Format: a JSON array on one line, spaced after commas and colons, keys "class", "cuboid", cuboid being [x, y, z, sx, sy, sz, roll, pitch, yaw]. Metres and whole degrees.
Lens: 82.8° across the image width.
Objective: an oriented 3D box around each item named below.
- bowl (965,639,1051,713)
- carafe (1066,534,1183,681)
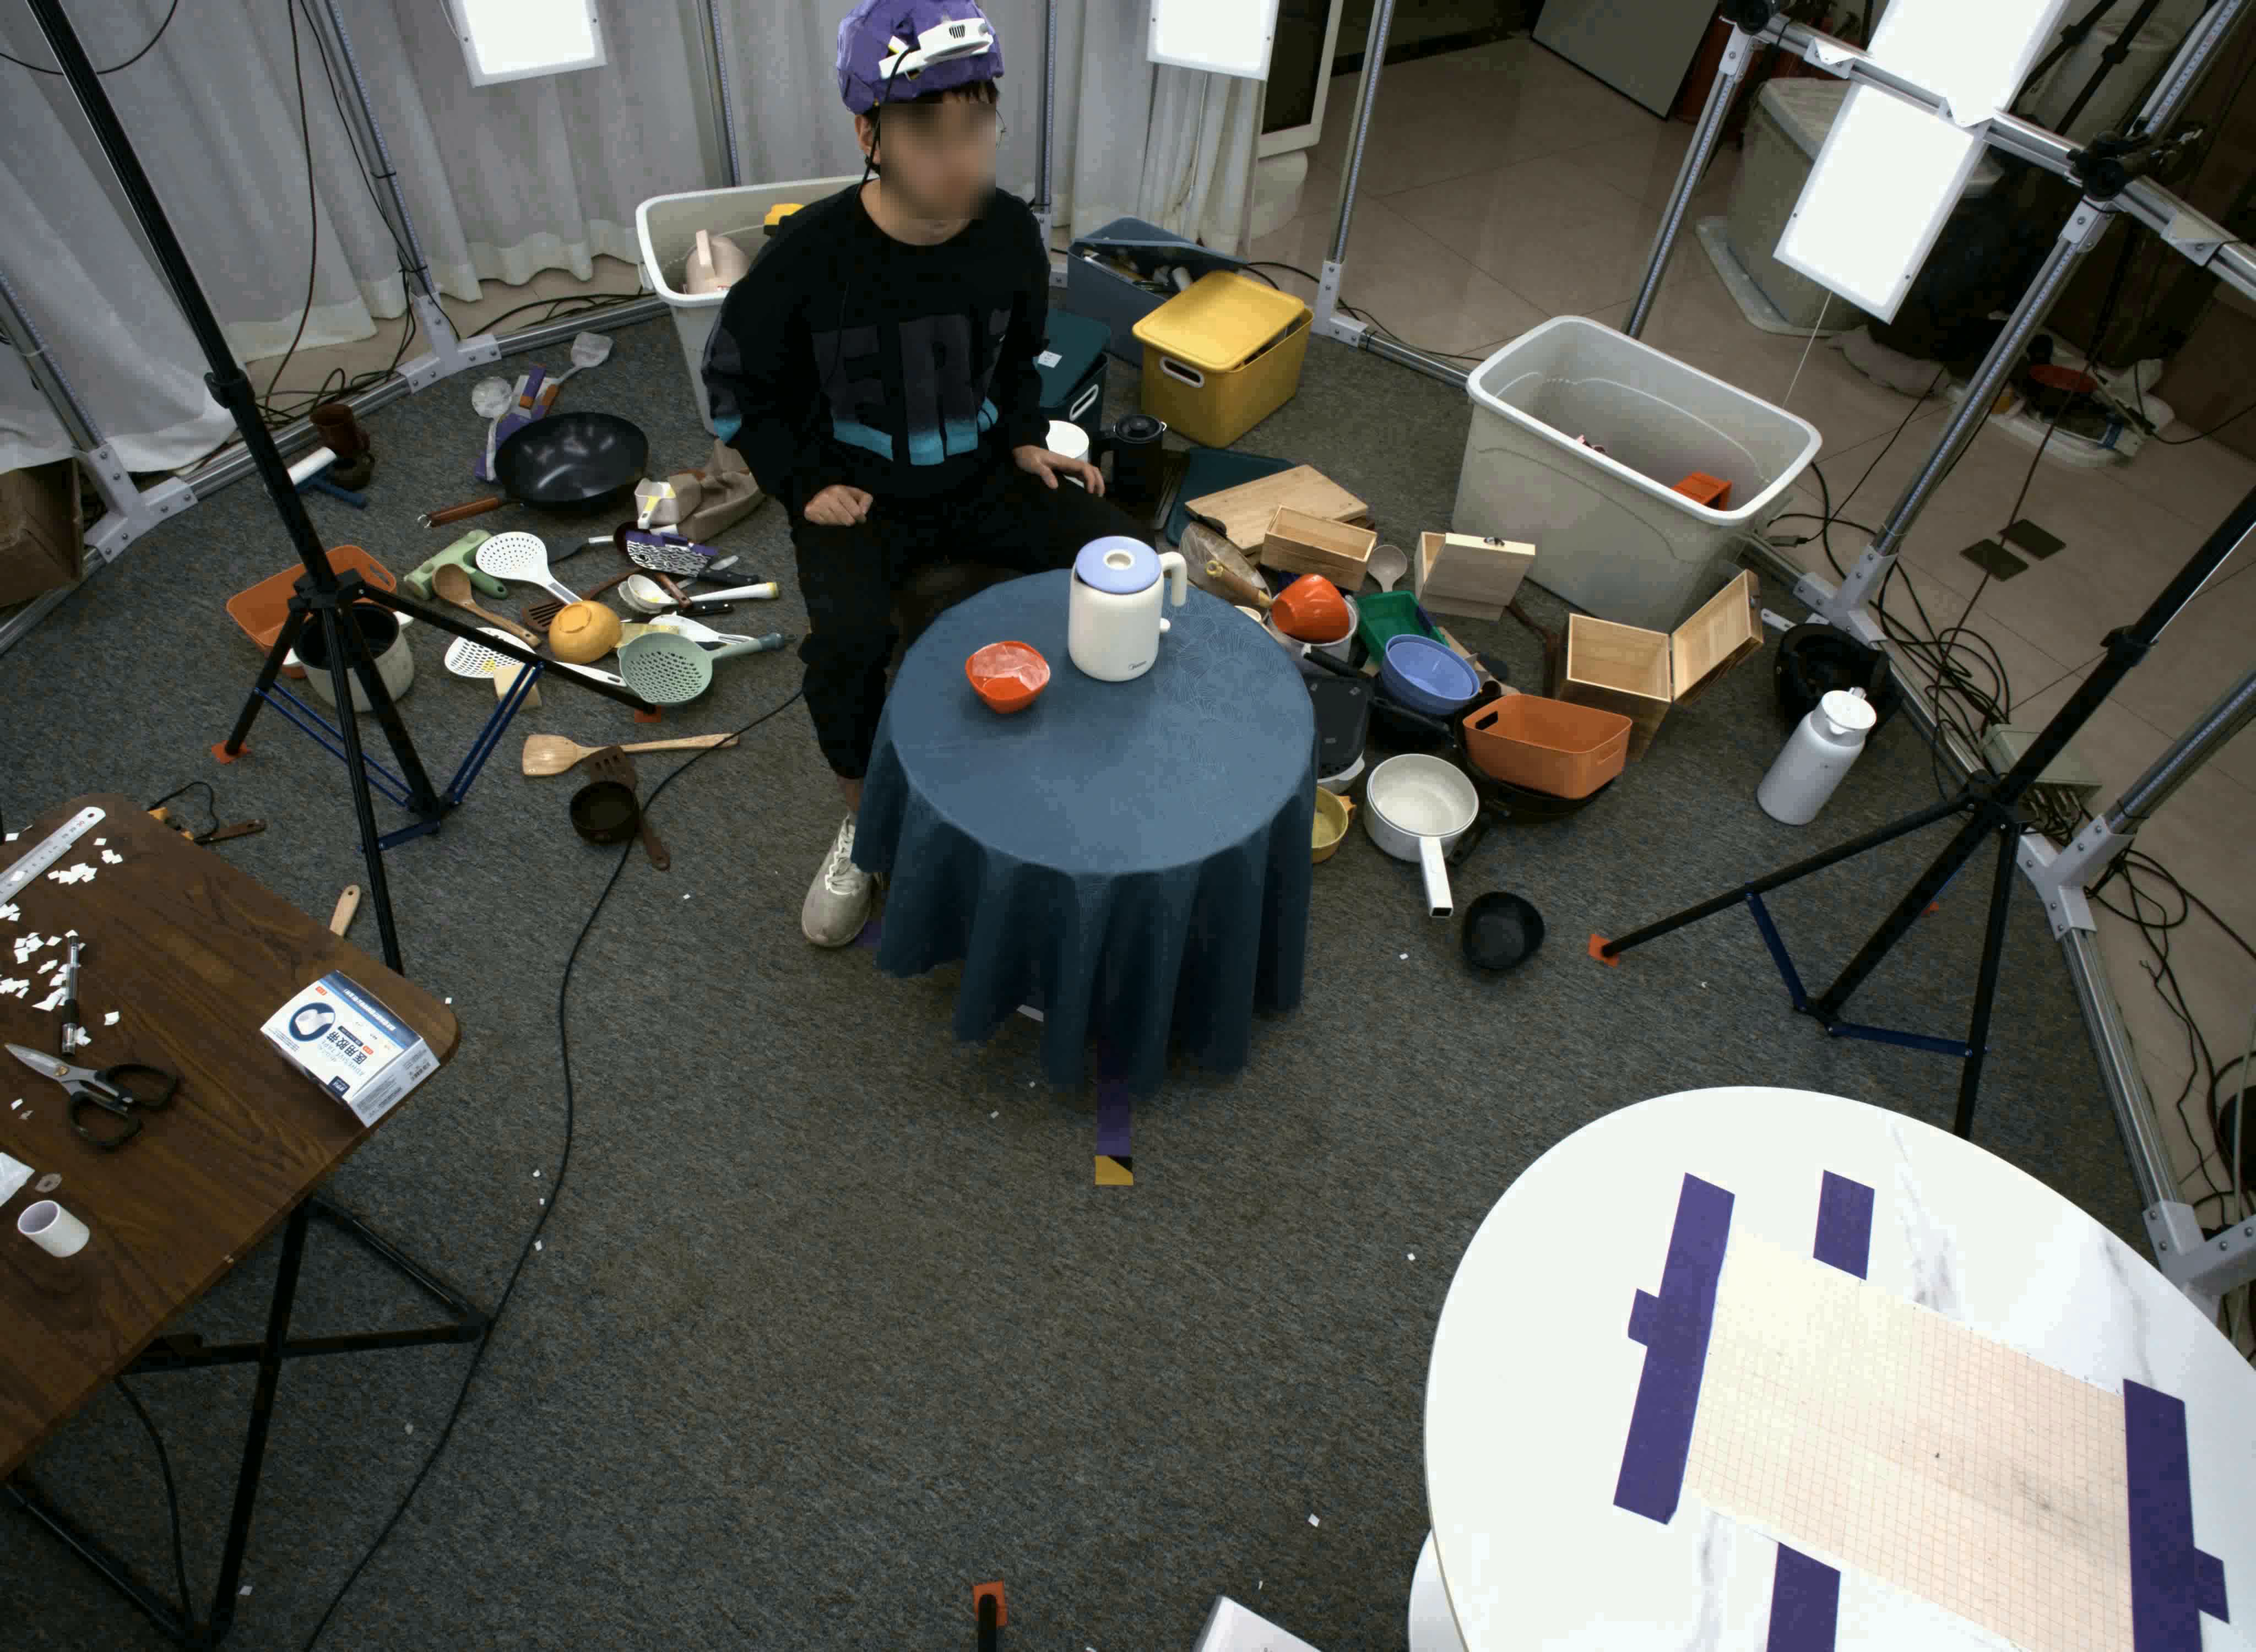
[{"class": "bowl", "cuboid": [-0.168, -0.204, 1.799, 0.119, 0.050, 0.122, 2, 52, -2]}, {"class": "carafe", "cuboid": [0.001, -0.318, 1.834, 0.192, 0.178, 0.135, -24, 56, -25]}]
